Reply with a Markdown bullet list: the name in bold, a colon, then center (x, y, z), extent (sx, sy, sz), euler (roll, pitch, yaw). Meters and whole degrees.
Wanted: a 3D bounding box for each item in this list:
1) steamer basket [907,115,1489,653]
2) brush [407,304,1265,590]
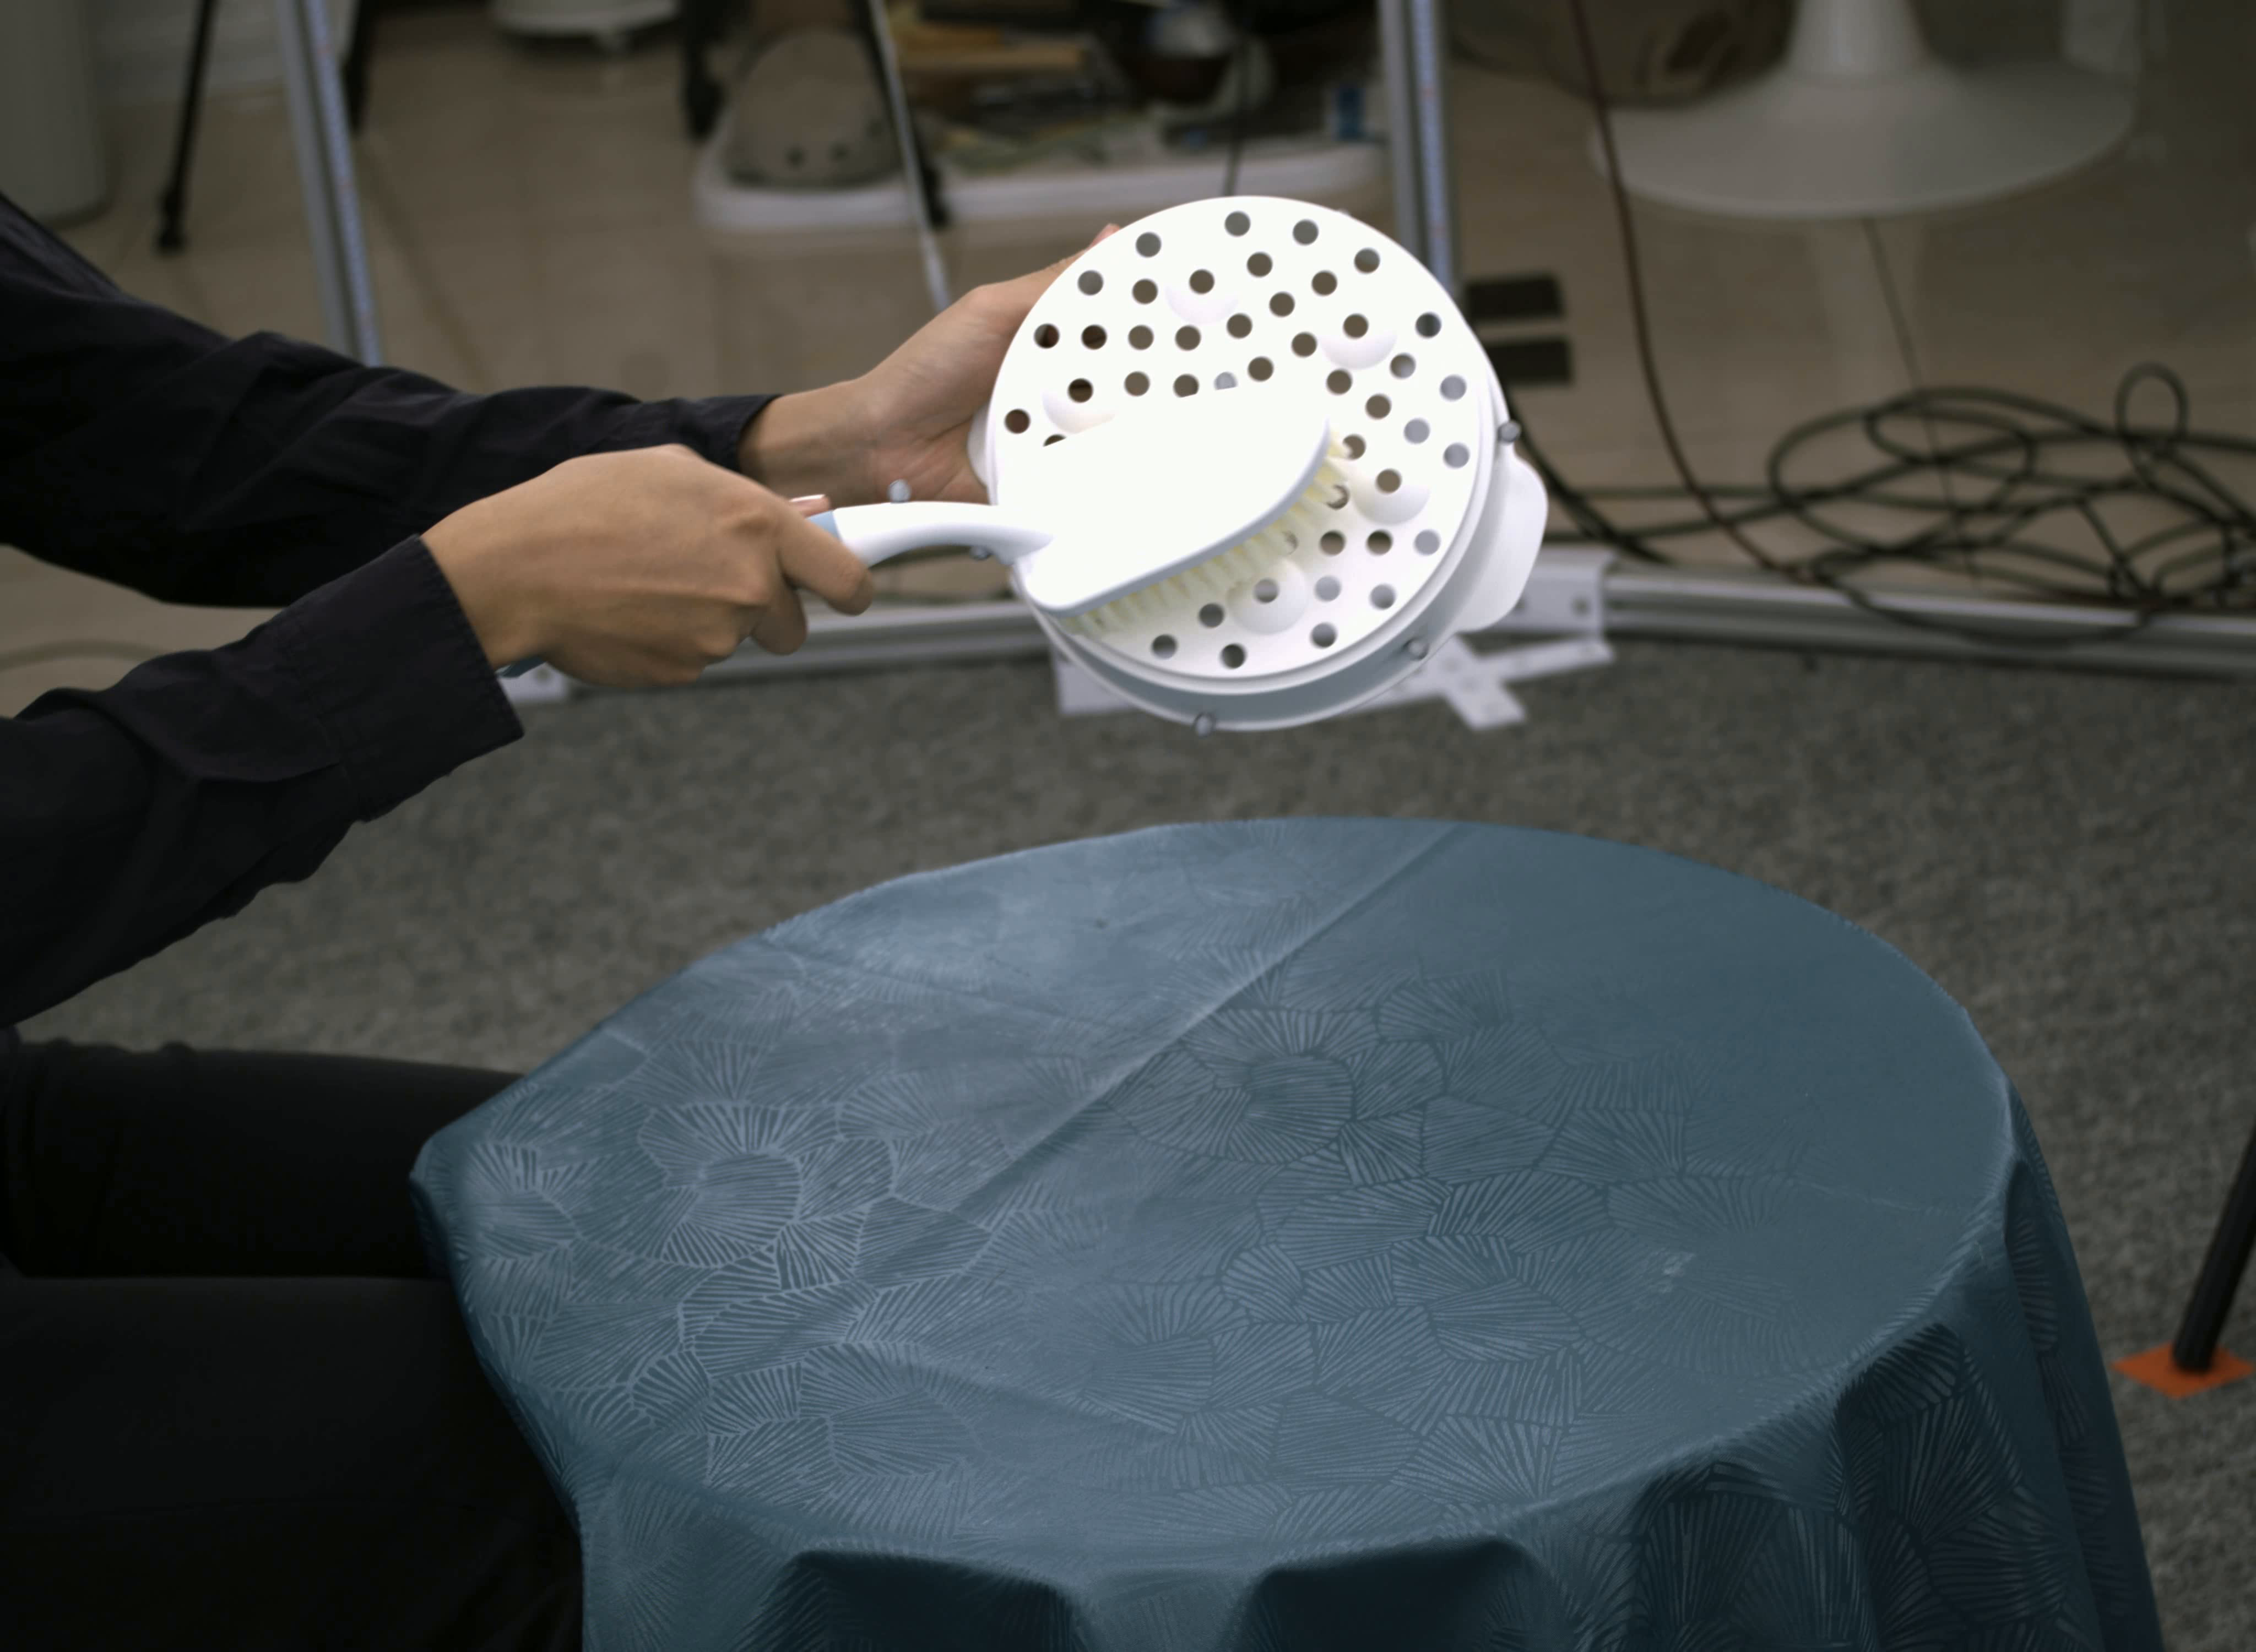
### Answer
- **steamer basket**: center (0.023, -0.171, 2.161), extent (0.230, 0.201, 0.069), euler (18, -7, 10)
- **brush**: center (-0.107, -0.130, 2.108), extent (0.325, 0.086, 0.082), euler (-15, 31, -1)
